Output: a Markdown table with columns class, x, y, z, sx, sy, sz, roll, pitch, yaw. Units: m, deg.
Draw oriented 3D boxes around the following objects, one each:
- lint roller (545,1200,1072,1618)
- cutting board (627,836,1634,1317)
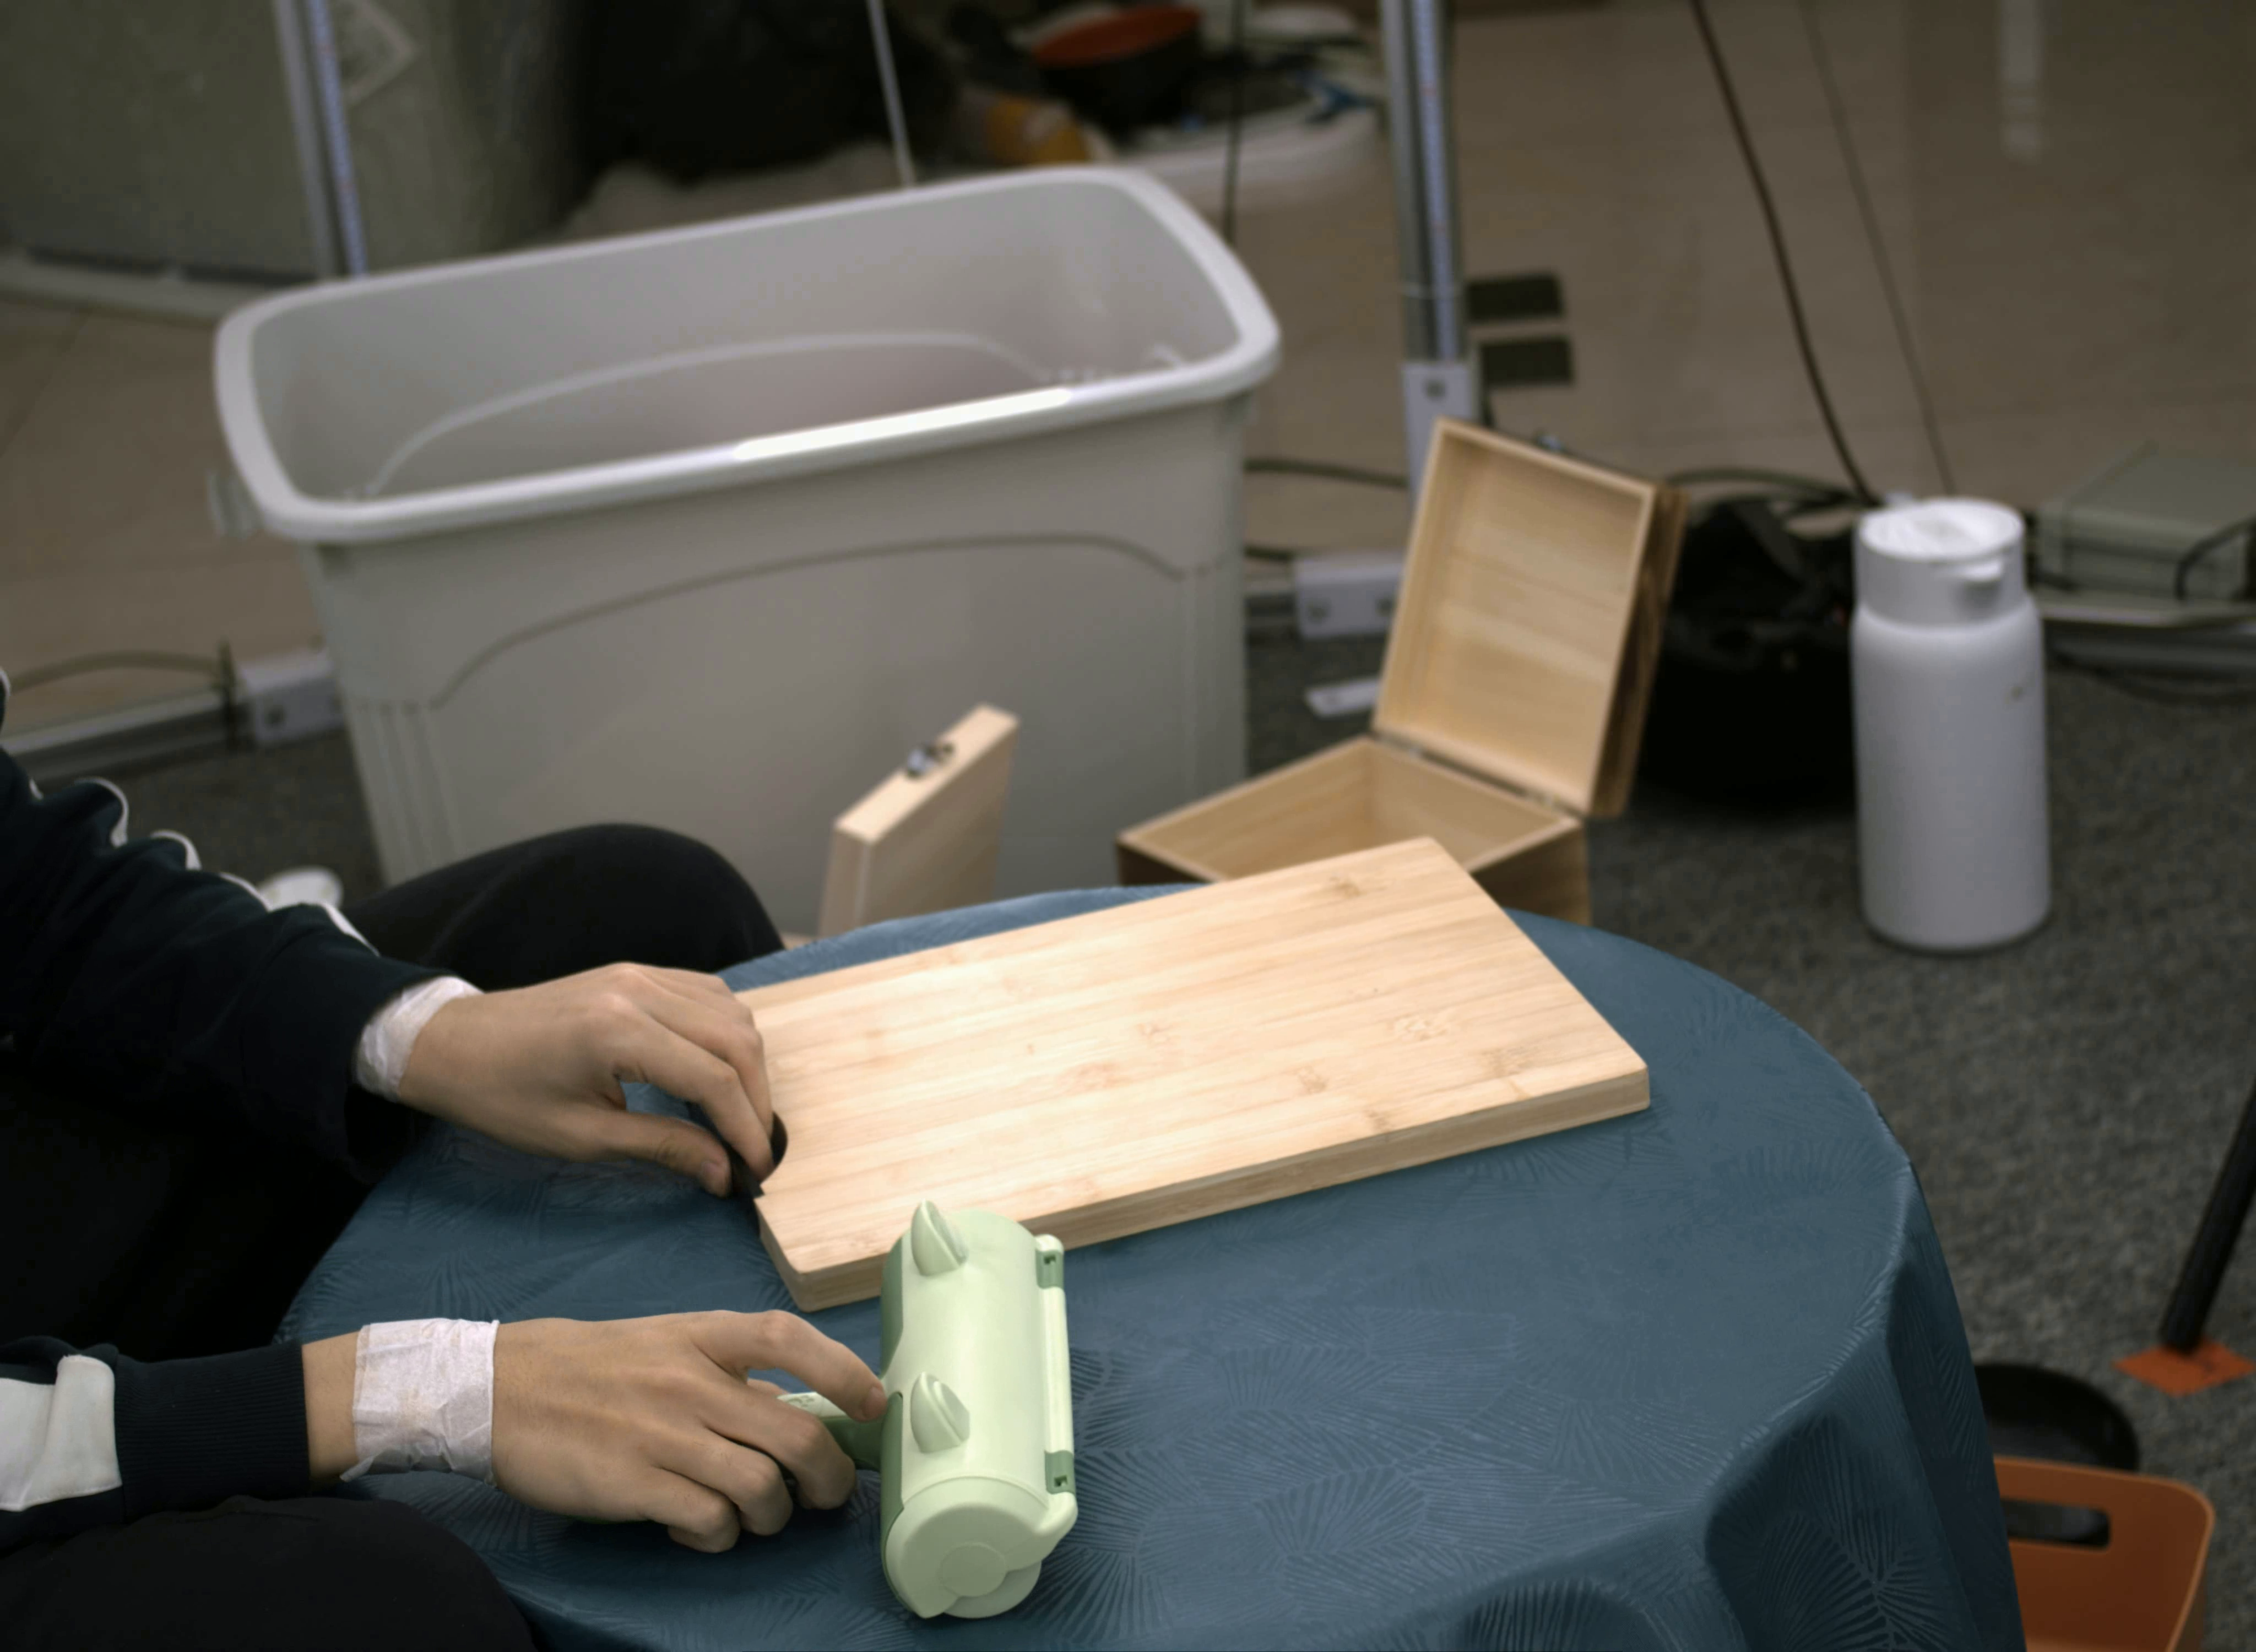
| class | x | y | z | sx | sy | sz | roll | pitch | yaw |
| --- | --- | --- | --- | --- | --- | --- | --- | --- | --- |
| lint roller | -0.112 | 0.196 | 1.954 | 0.183 | 0.083 | 0.195 | -3 | 26 | 0 |
| cutting board | -0.002 | 0.093 | 2.224 | 0.347 | 0.024 | 0.247 | -13 | 25 | -14 |
